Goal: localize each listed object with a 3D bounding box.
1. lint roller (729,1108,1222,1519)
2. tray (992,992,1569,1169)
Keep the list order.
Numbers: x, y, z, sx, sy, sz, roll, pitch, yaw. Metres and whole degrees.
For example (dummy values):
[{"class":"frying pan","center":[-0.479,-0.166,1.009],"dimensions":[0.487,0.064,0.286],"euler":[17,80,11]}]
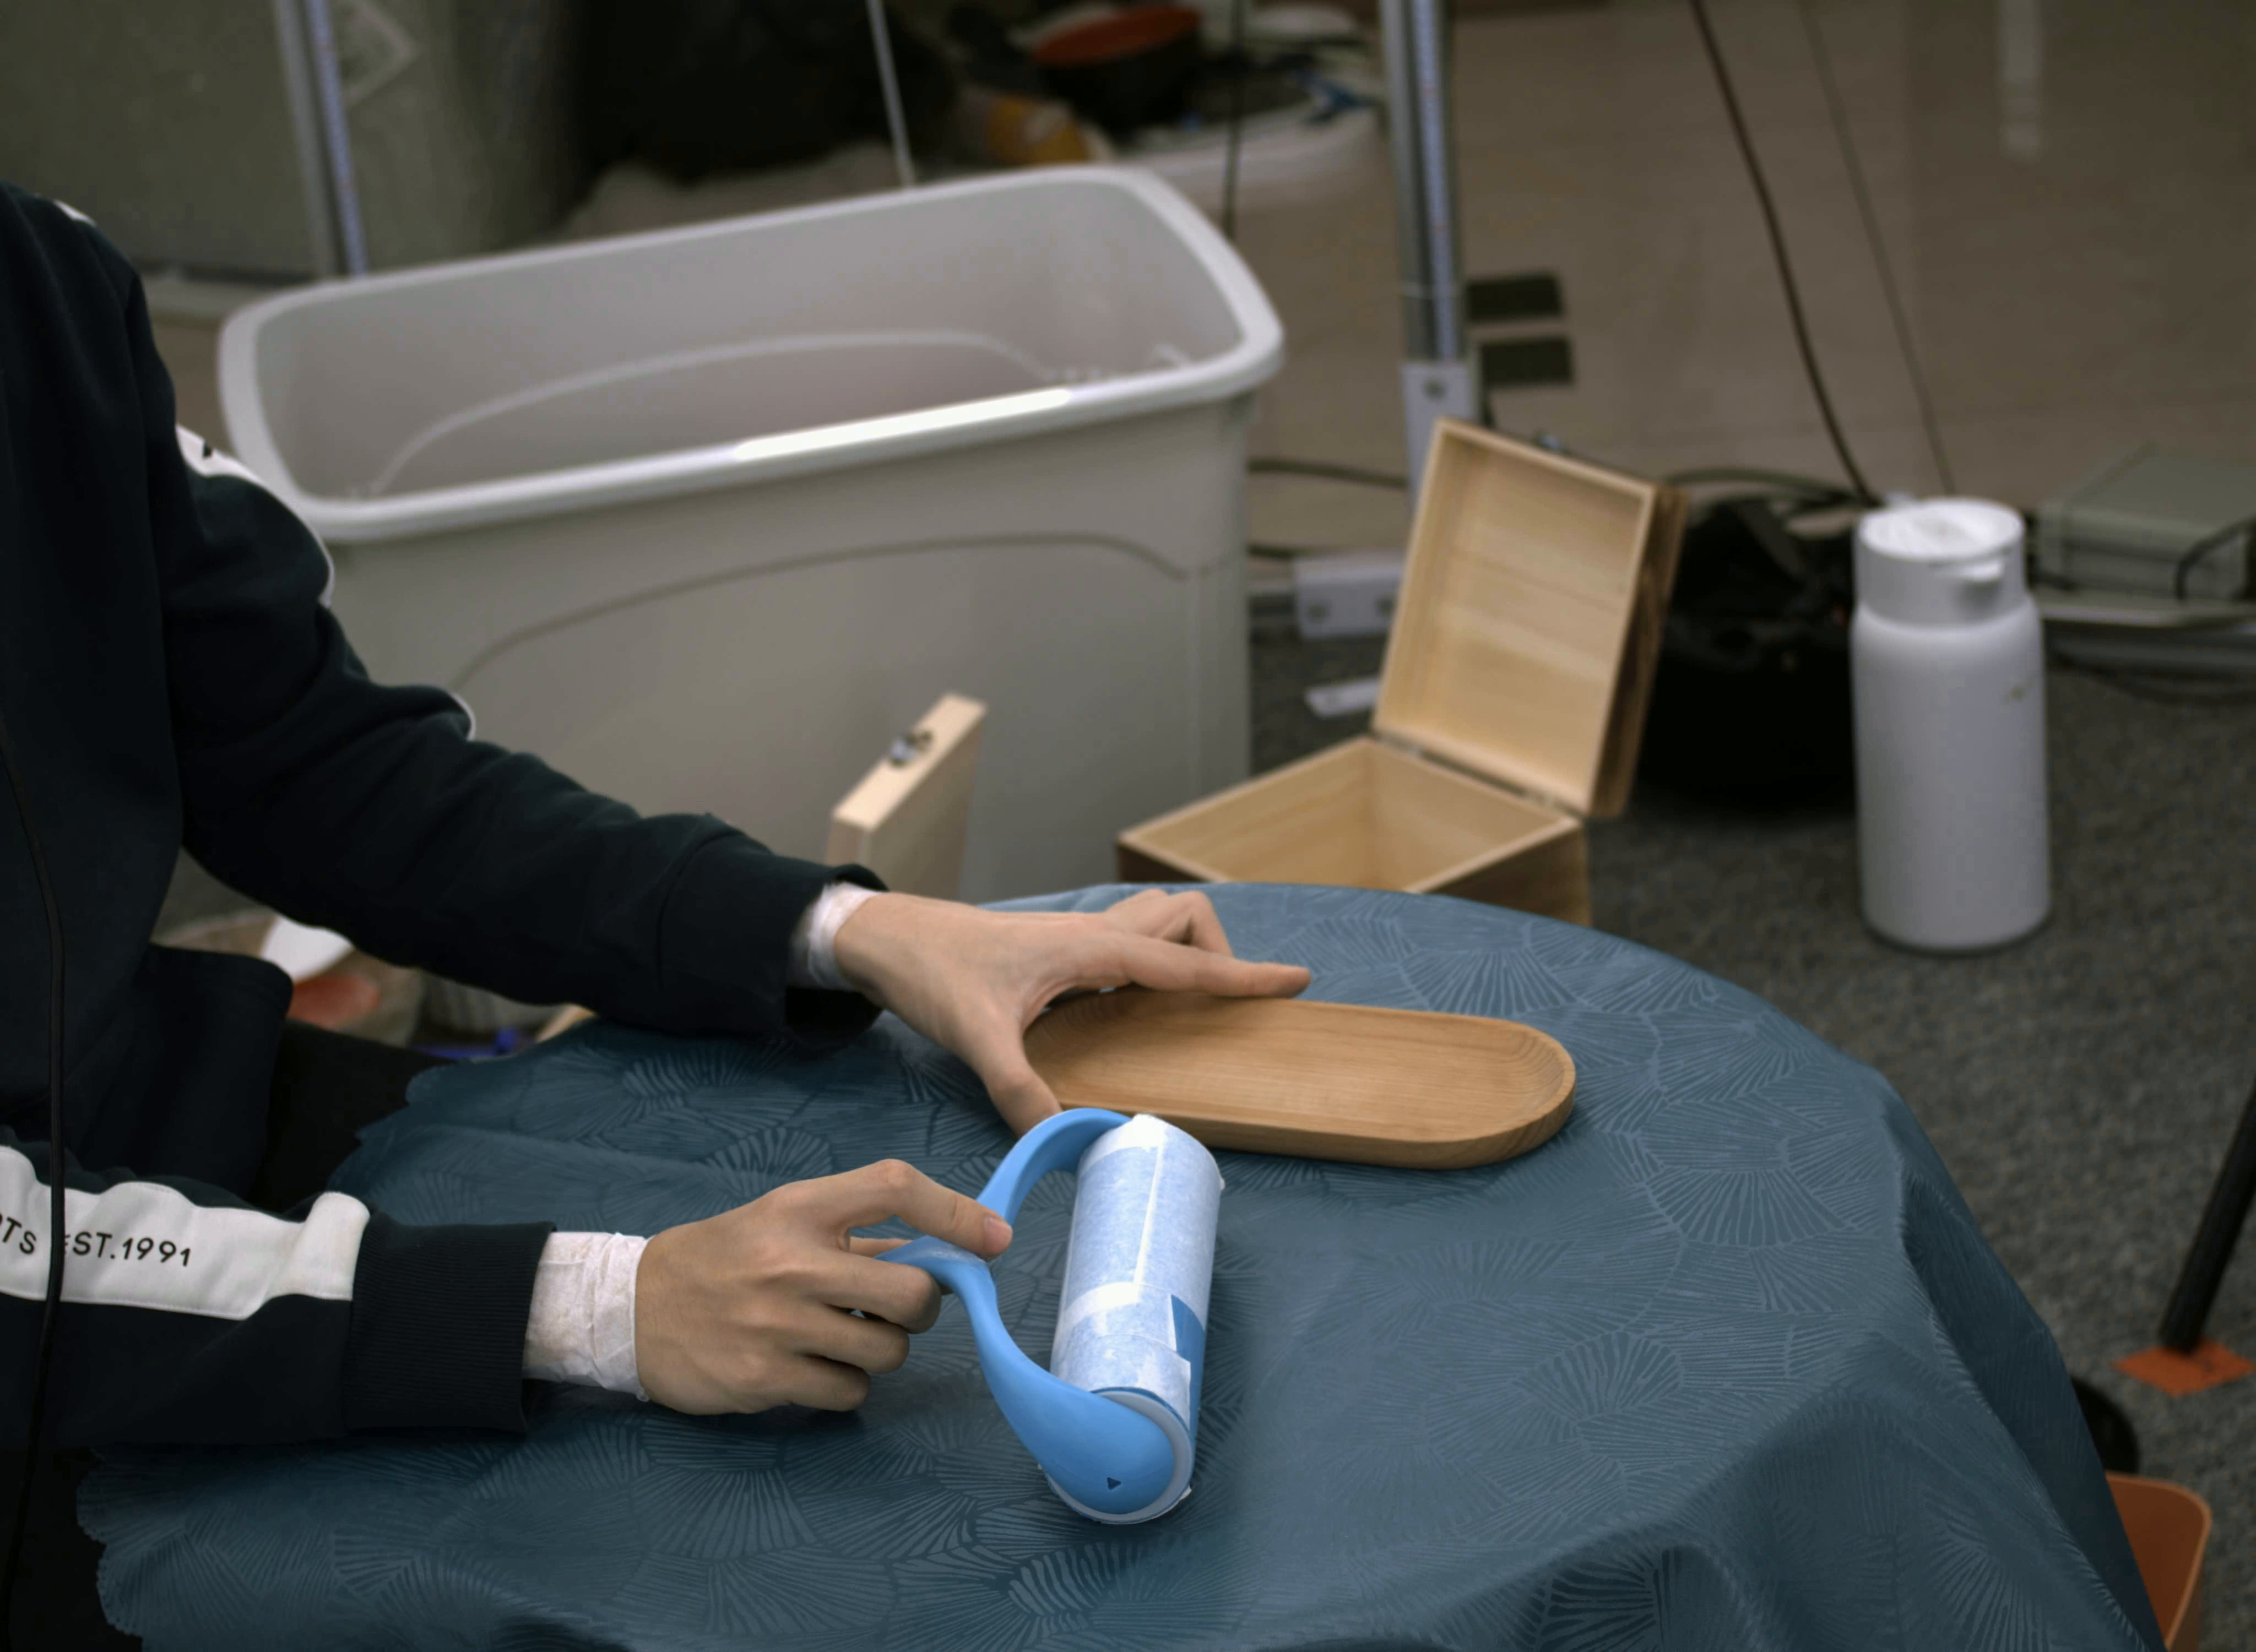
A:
[{"class":"lint roller","center":[-0.056,0.176,2.011],"dimensions":[0.180,0.069,0.225],"euler":[-5,27,3]},{"class":"tray","center":[0.058,0.098,2.196],"dimensions":[0.230,0.020,0.100],"euler":[3,26,21]}]
